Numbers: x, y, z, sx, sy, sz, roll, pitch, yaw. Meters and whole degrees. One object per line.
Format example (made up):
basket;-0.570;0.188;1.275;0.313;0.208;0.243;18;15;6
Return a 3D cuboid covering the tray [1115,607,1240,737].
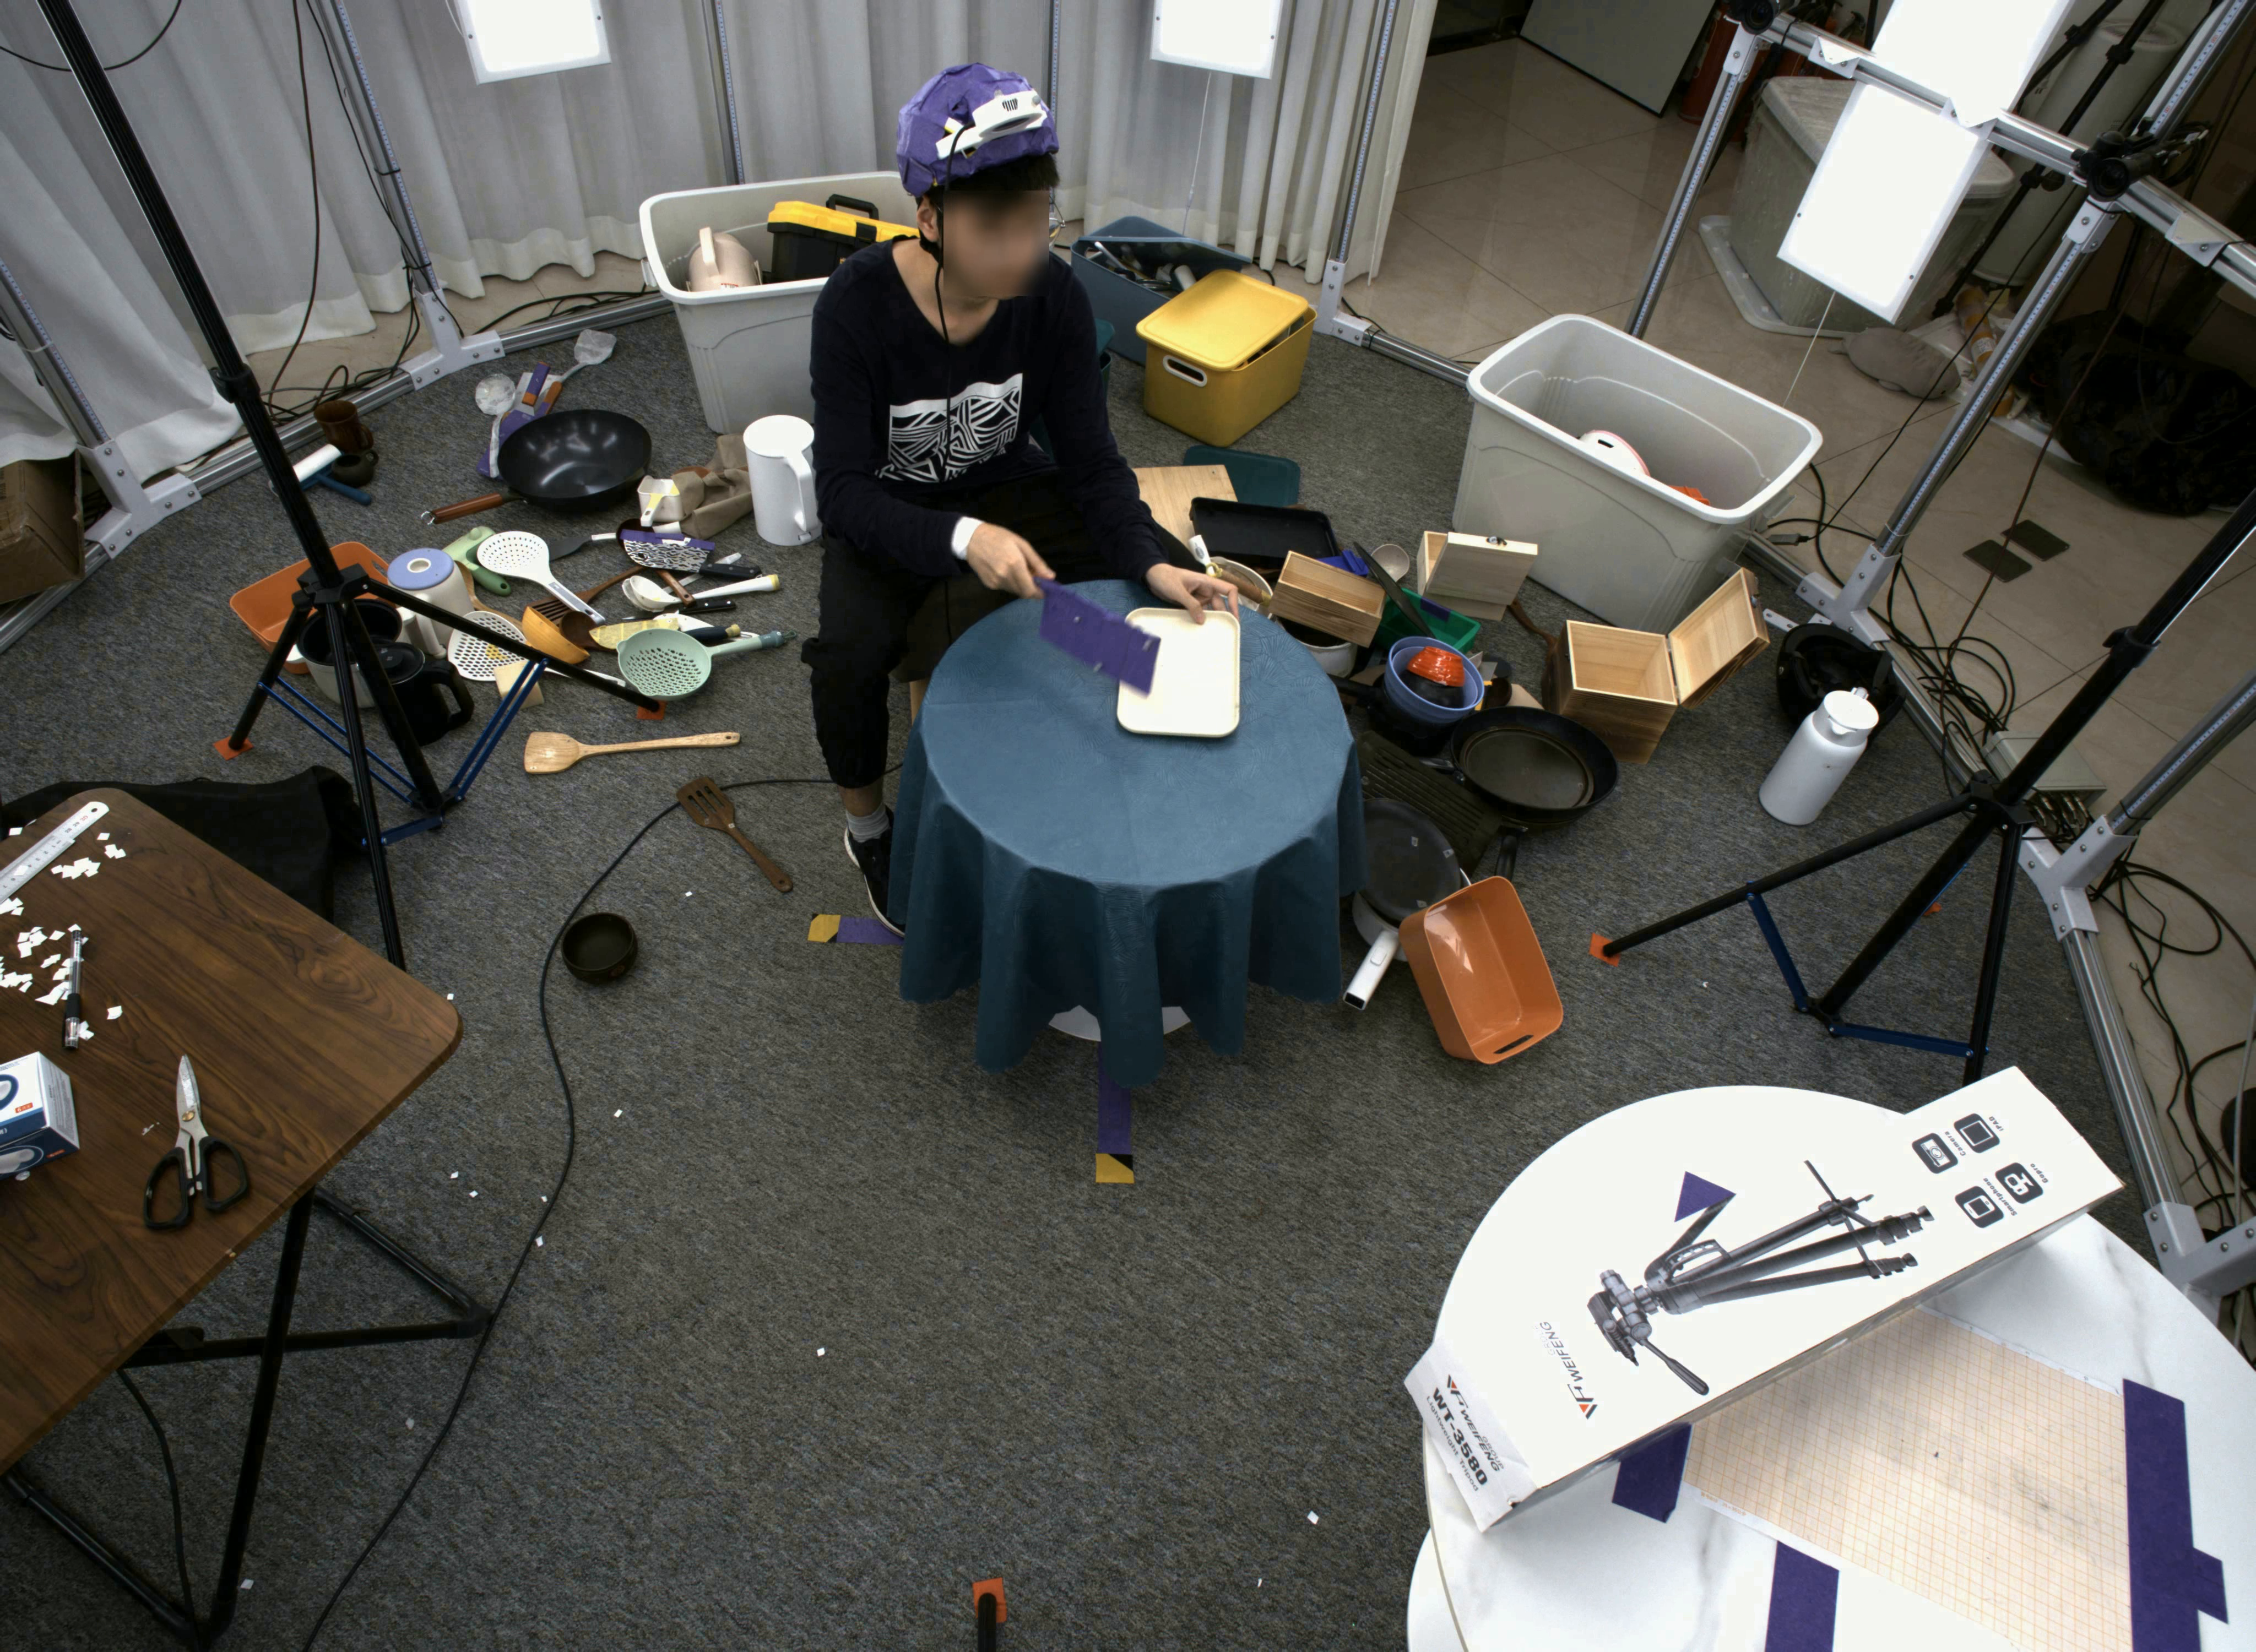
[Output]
tray;0.073;-0.222;1.842;0.171;0.017;0.245;4;53;3

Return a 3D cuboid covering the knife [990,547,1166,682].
knife;-0.076;-0.292;1.786;0.320;0.102;0.032;32;37;31
